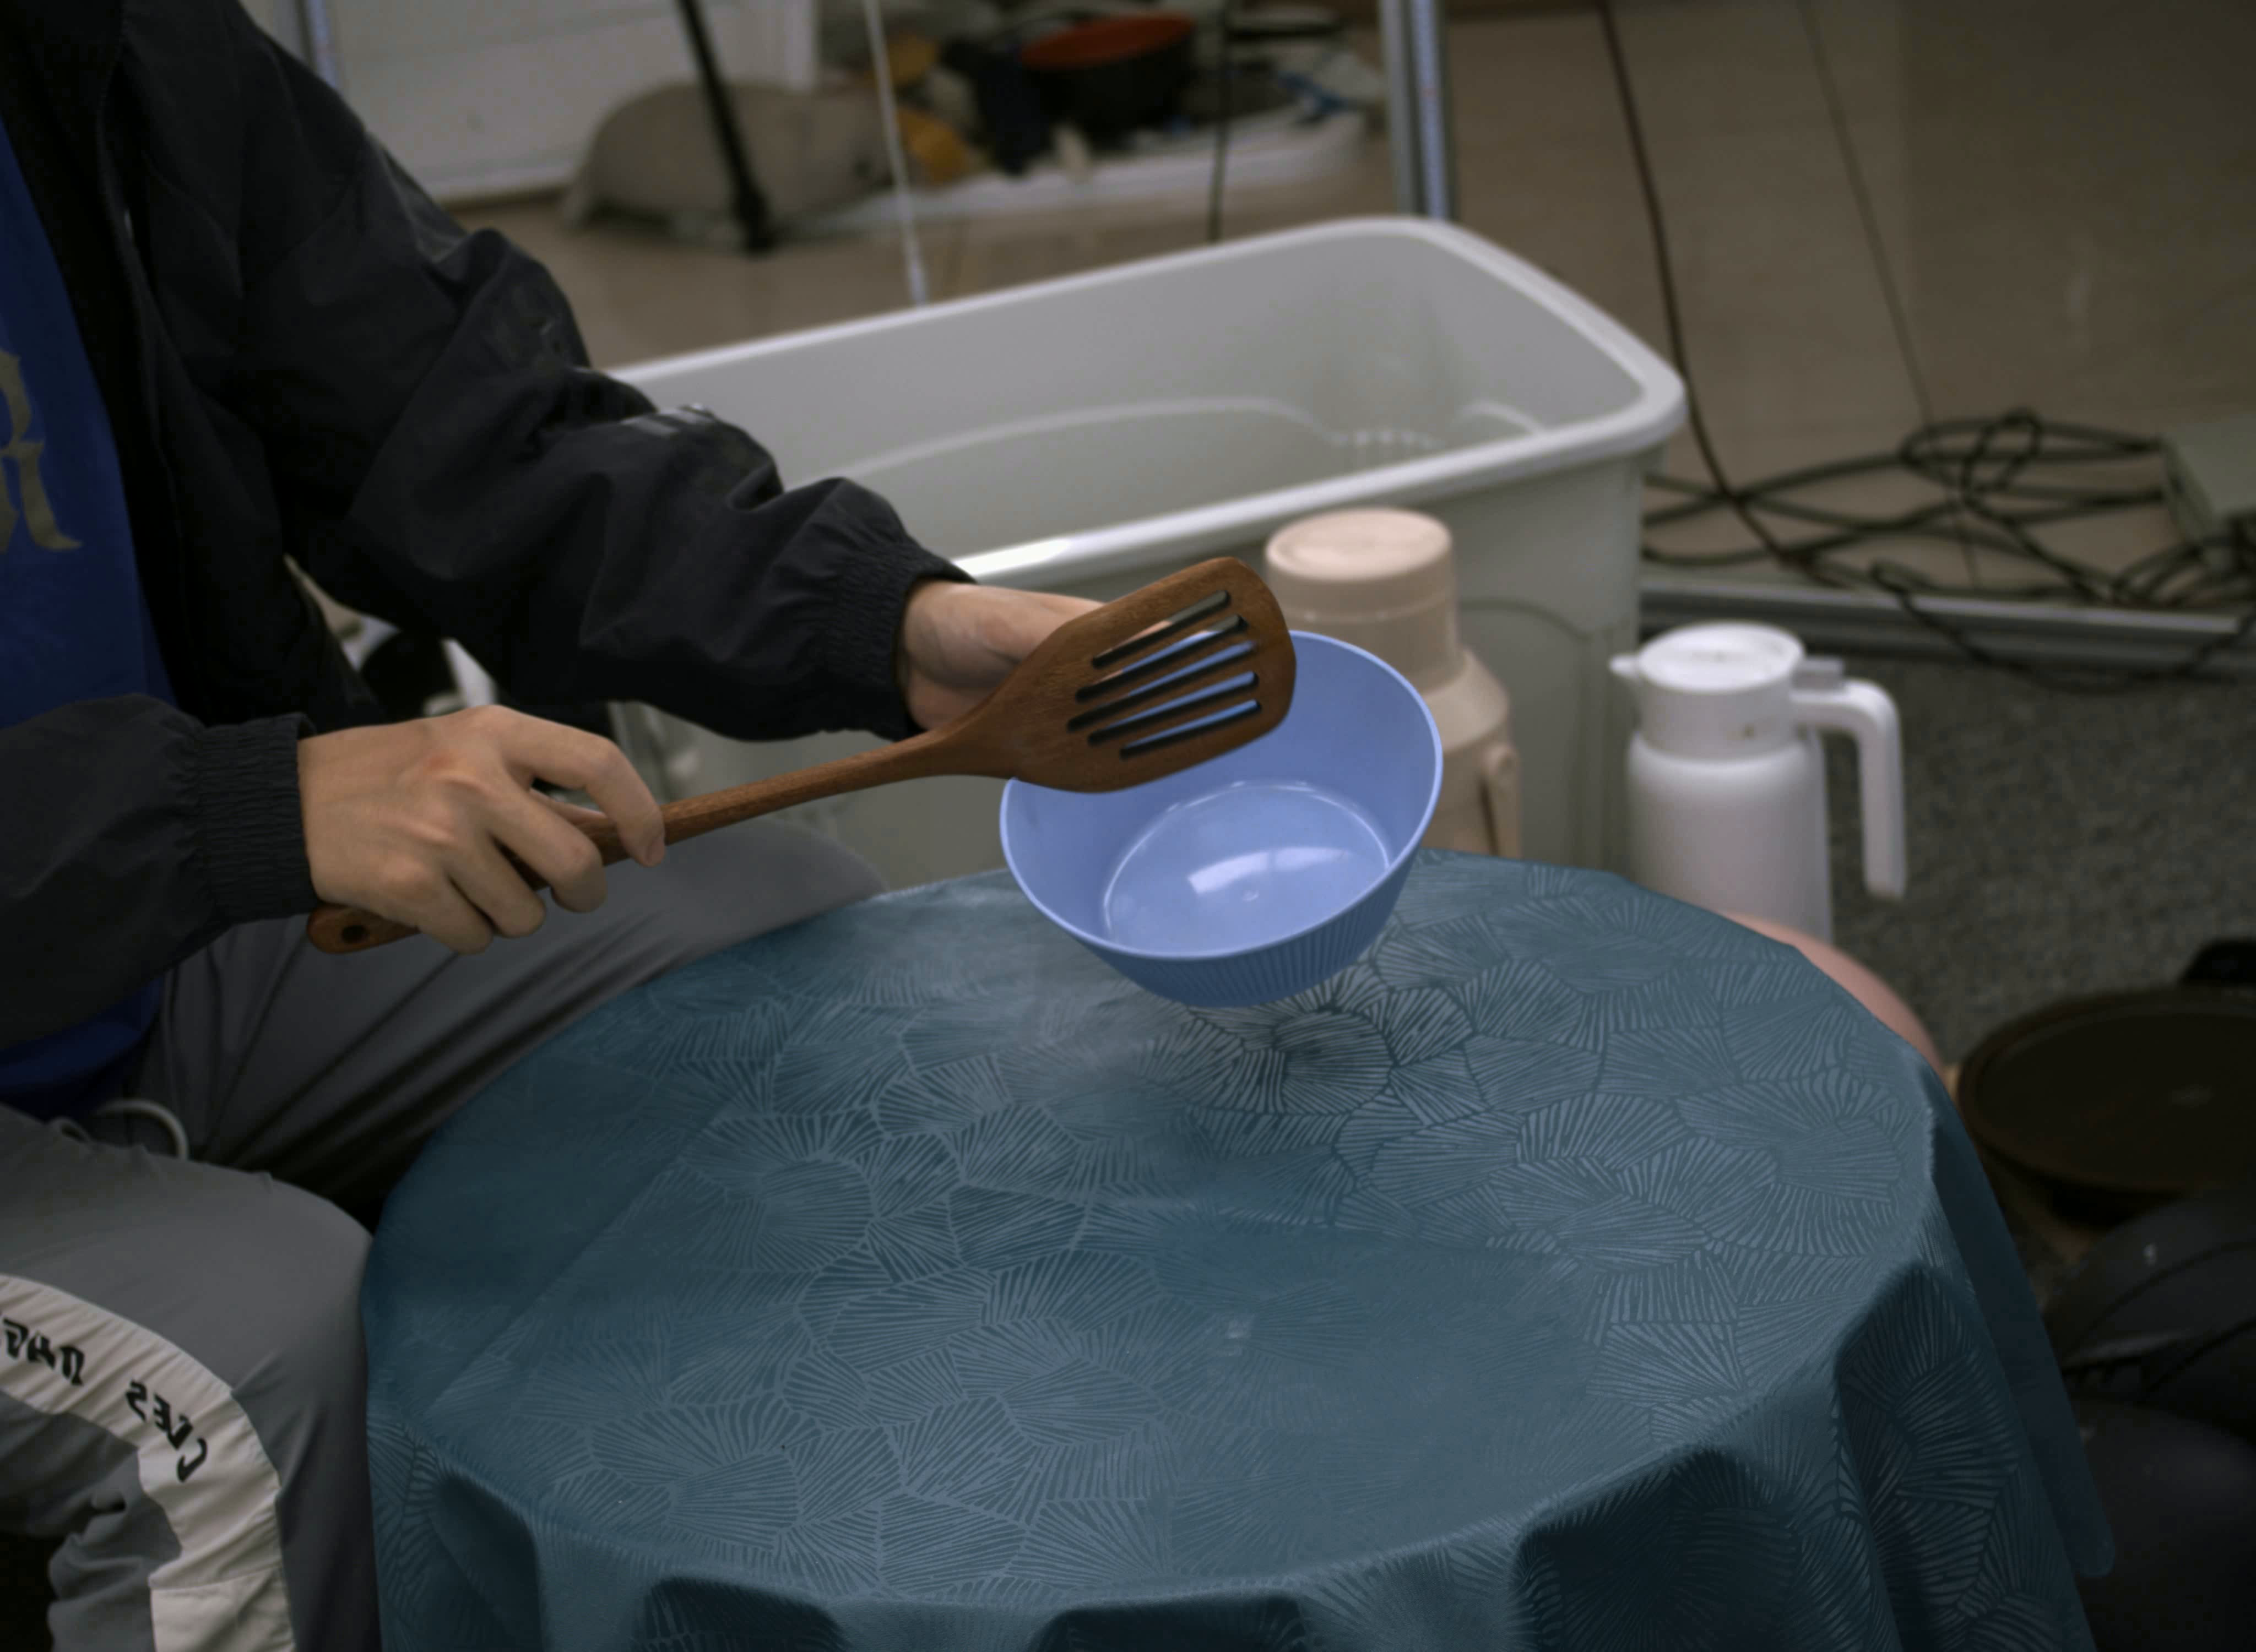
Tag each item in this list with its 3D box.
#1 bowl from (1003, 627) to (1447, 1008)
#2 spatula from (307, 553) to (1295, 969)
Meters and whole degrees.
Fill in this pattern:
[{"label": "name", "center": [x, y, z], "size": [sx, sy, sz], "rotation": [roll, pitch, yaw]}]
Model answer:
[{"label": "bowl", "center": [0.044, 0.007, 2.215], "size": [0.176, 0.071, 0.173], "rotation": [-9, 46, 9]}, {"label": "spatula", "center": [-0.123, -0.012, 2.125], "size": [0.386, 0.087, 0.023], "rotation": [-17, 33, 1]}]
